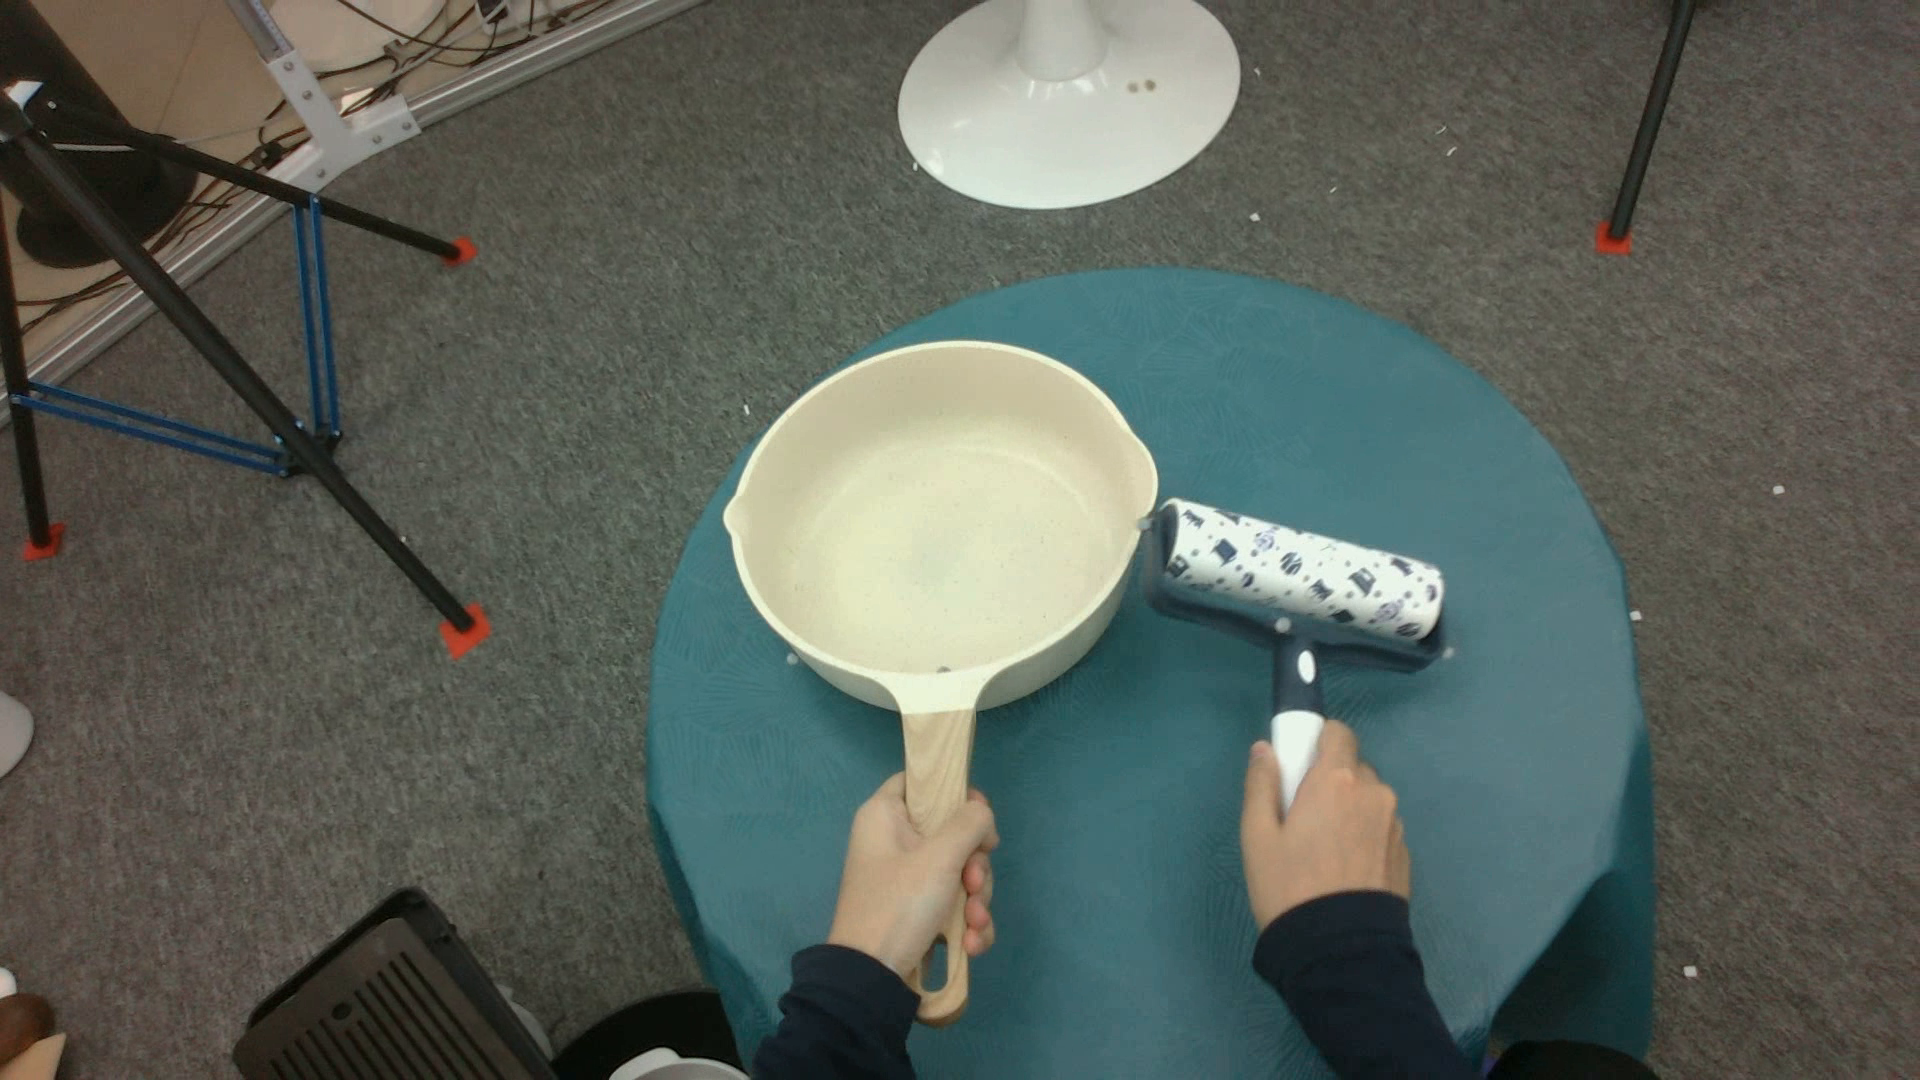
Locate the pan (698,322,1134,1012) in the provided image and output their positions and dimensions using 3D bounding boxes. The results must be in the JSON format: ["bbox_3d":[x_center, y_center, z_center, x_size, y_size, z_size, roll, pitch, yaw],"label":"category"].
[{"bbox_3d":[-0.020,0.060,0.799,0.263,0.101,0.436,-5,57,3],"label":"pan"}]

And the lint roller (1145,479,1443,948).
[{"bbox_3d":[0.182,0.091,0.736,0.176,0.050,0.248,13,58,-10],"label":"lint roller"}]
